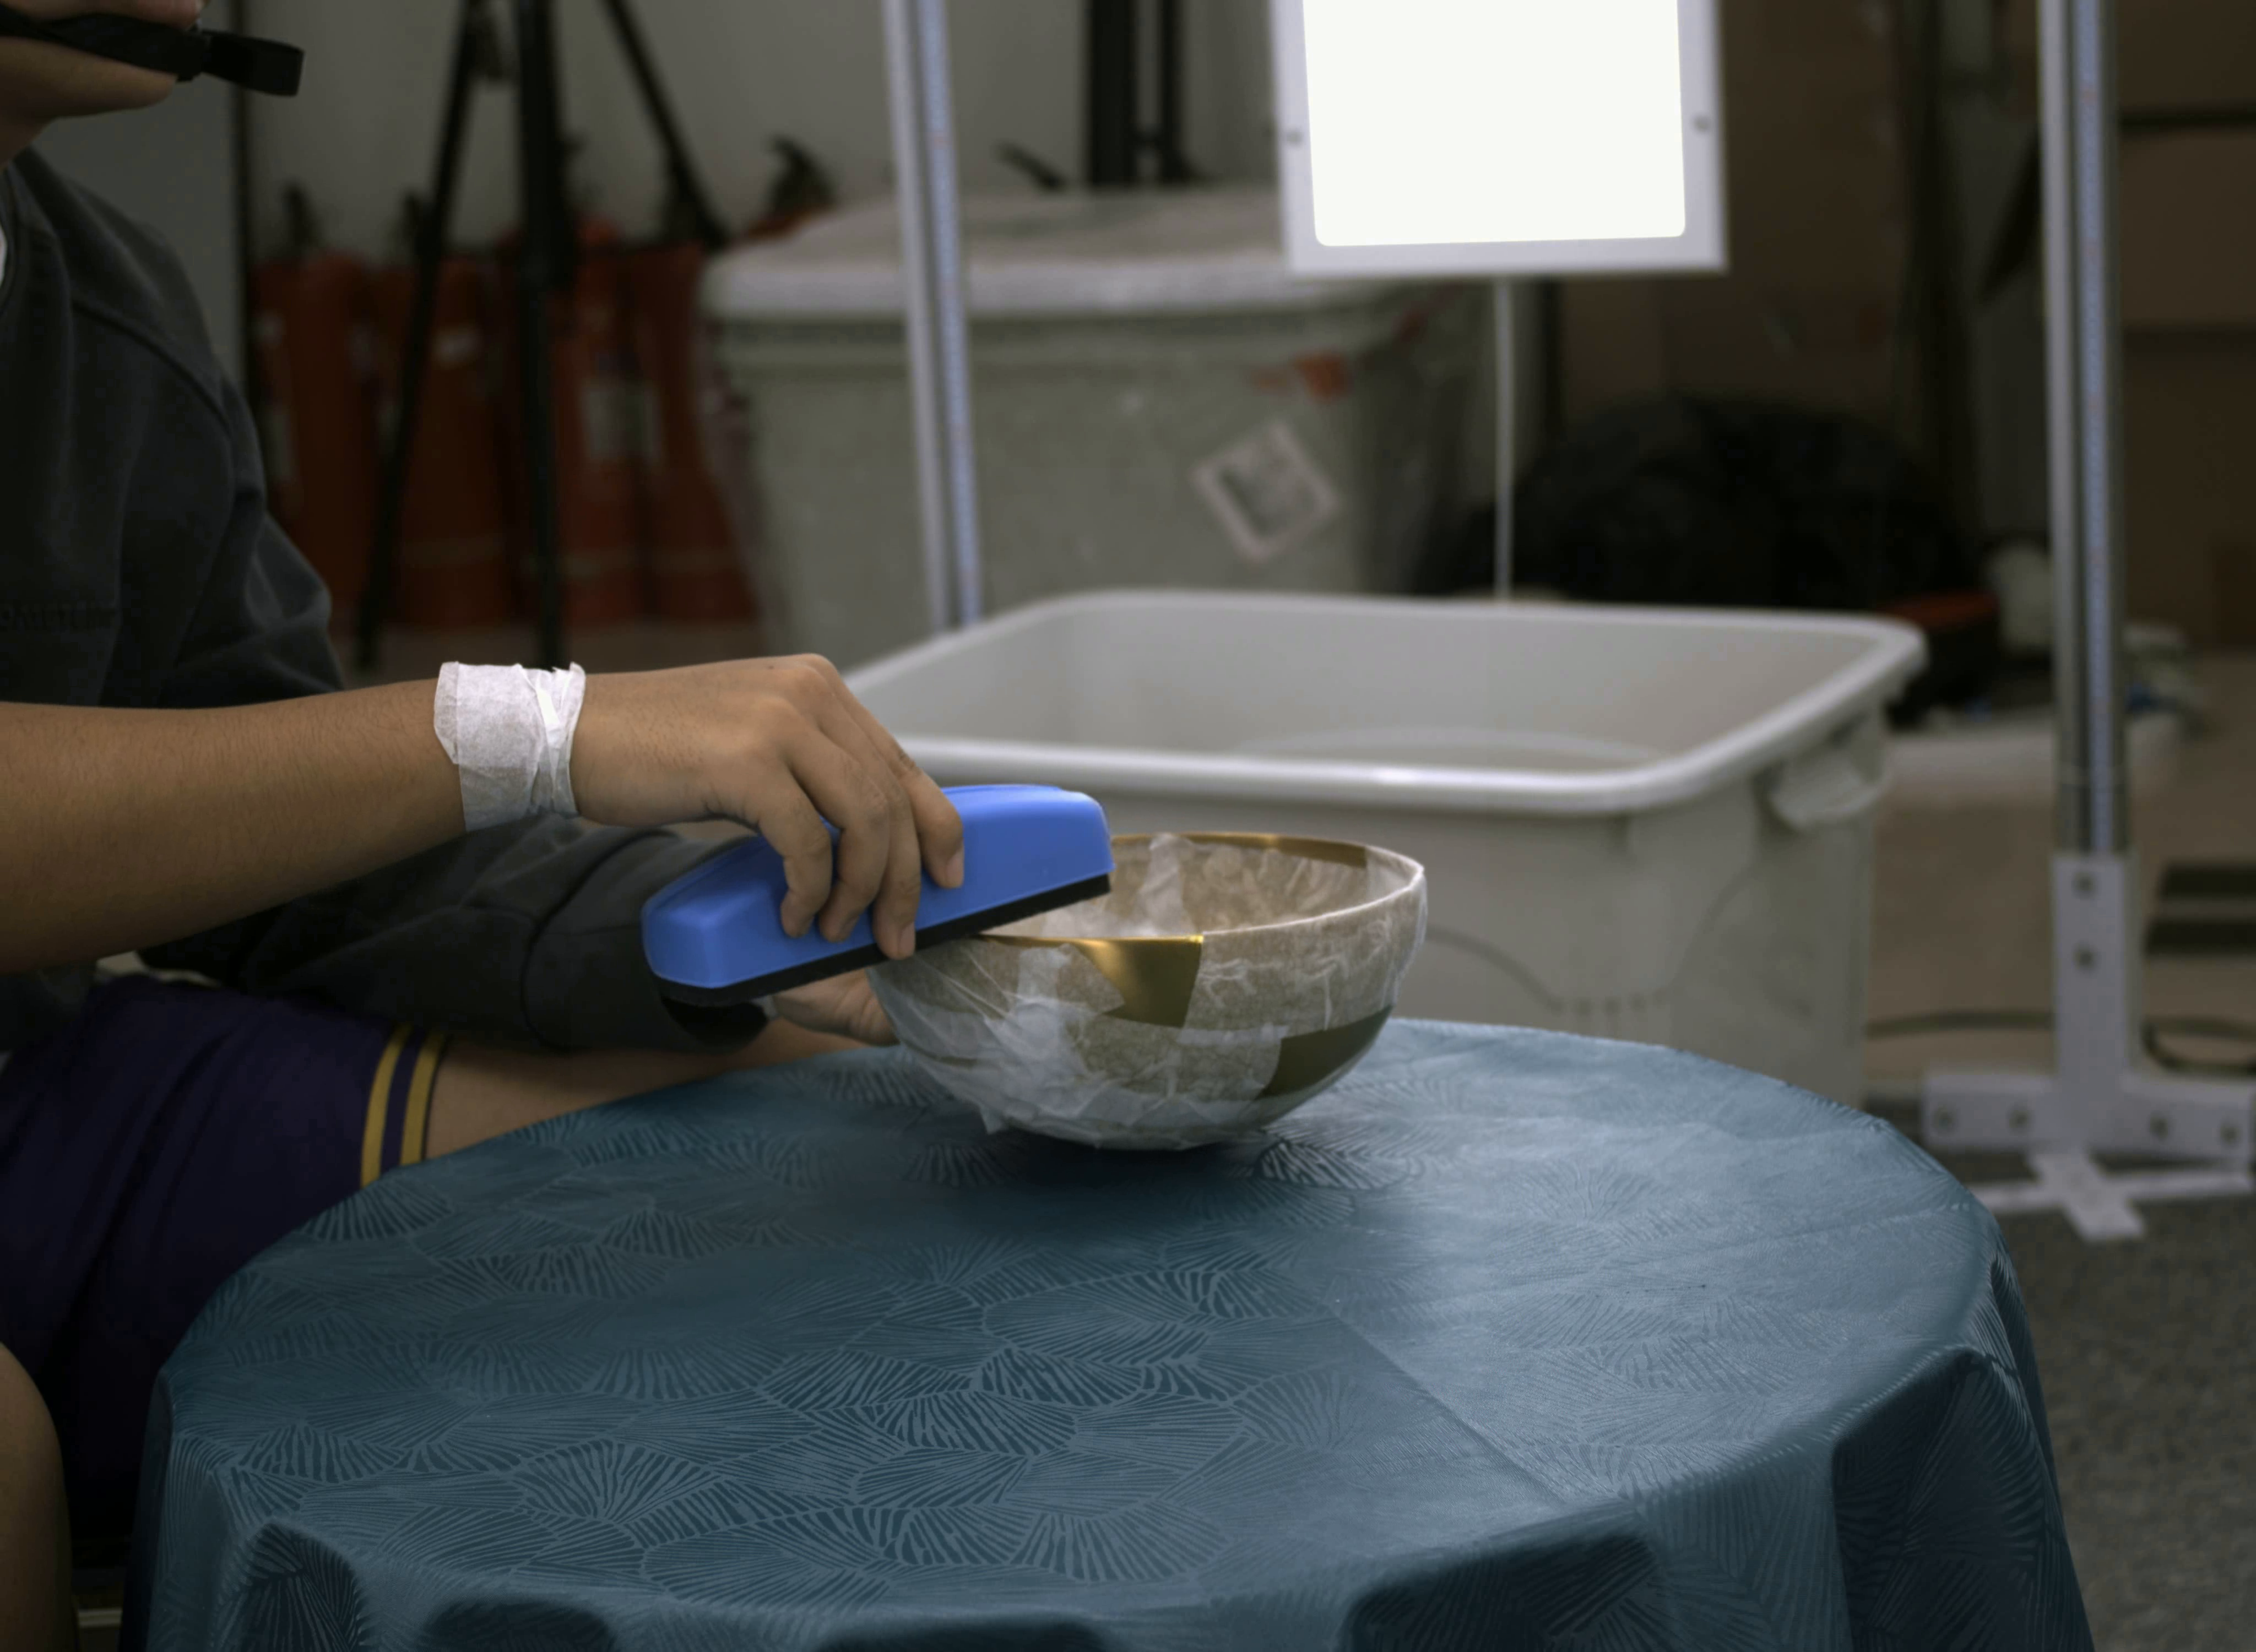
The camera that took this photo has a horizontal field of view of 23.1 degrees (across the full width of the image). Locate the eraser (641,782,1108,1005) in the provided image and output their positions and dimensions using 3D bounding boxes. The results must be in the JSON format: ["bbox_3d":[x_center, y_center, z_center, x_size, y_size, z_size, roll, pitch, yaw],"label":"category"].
[{"bbox_3d":[-0.086,0.017,1.864,0.159,0.048,0.055,-17,17,-25],"label":"eraser"}]

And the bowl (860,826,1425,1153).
[{"bbox_3d":[0.003,0.062,1.946,0.214,0.095,0.214,-4,10,-1],"label":"bowl"}]
